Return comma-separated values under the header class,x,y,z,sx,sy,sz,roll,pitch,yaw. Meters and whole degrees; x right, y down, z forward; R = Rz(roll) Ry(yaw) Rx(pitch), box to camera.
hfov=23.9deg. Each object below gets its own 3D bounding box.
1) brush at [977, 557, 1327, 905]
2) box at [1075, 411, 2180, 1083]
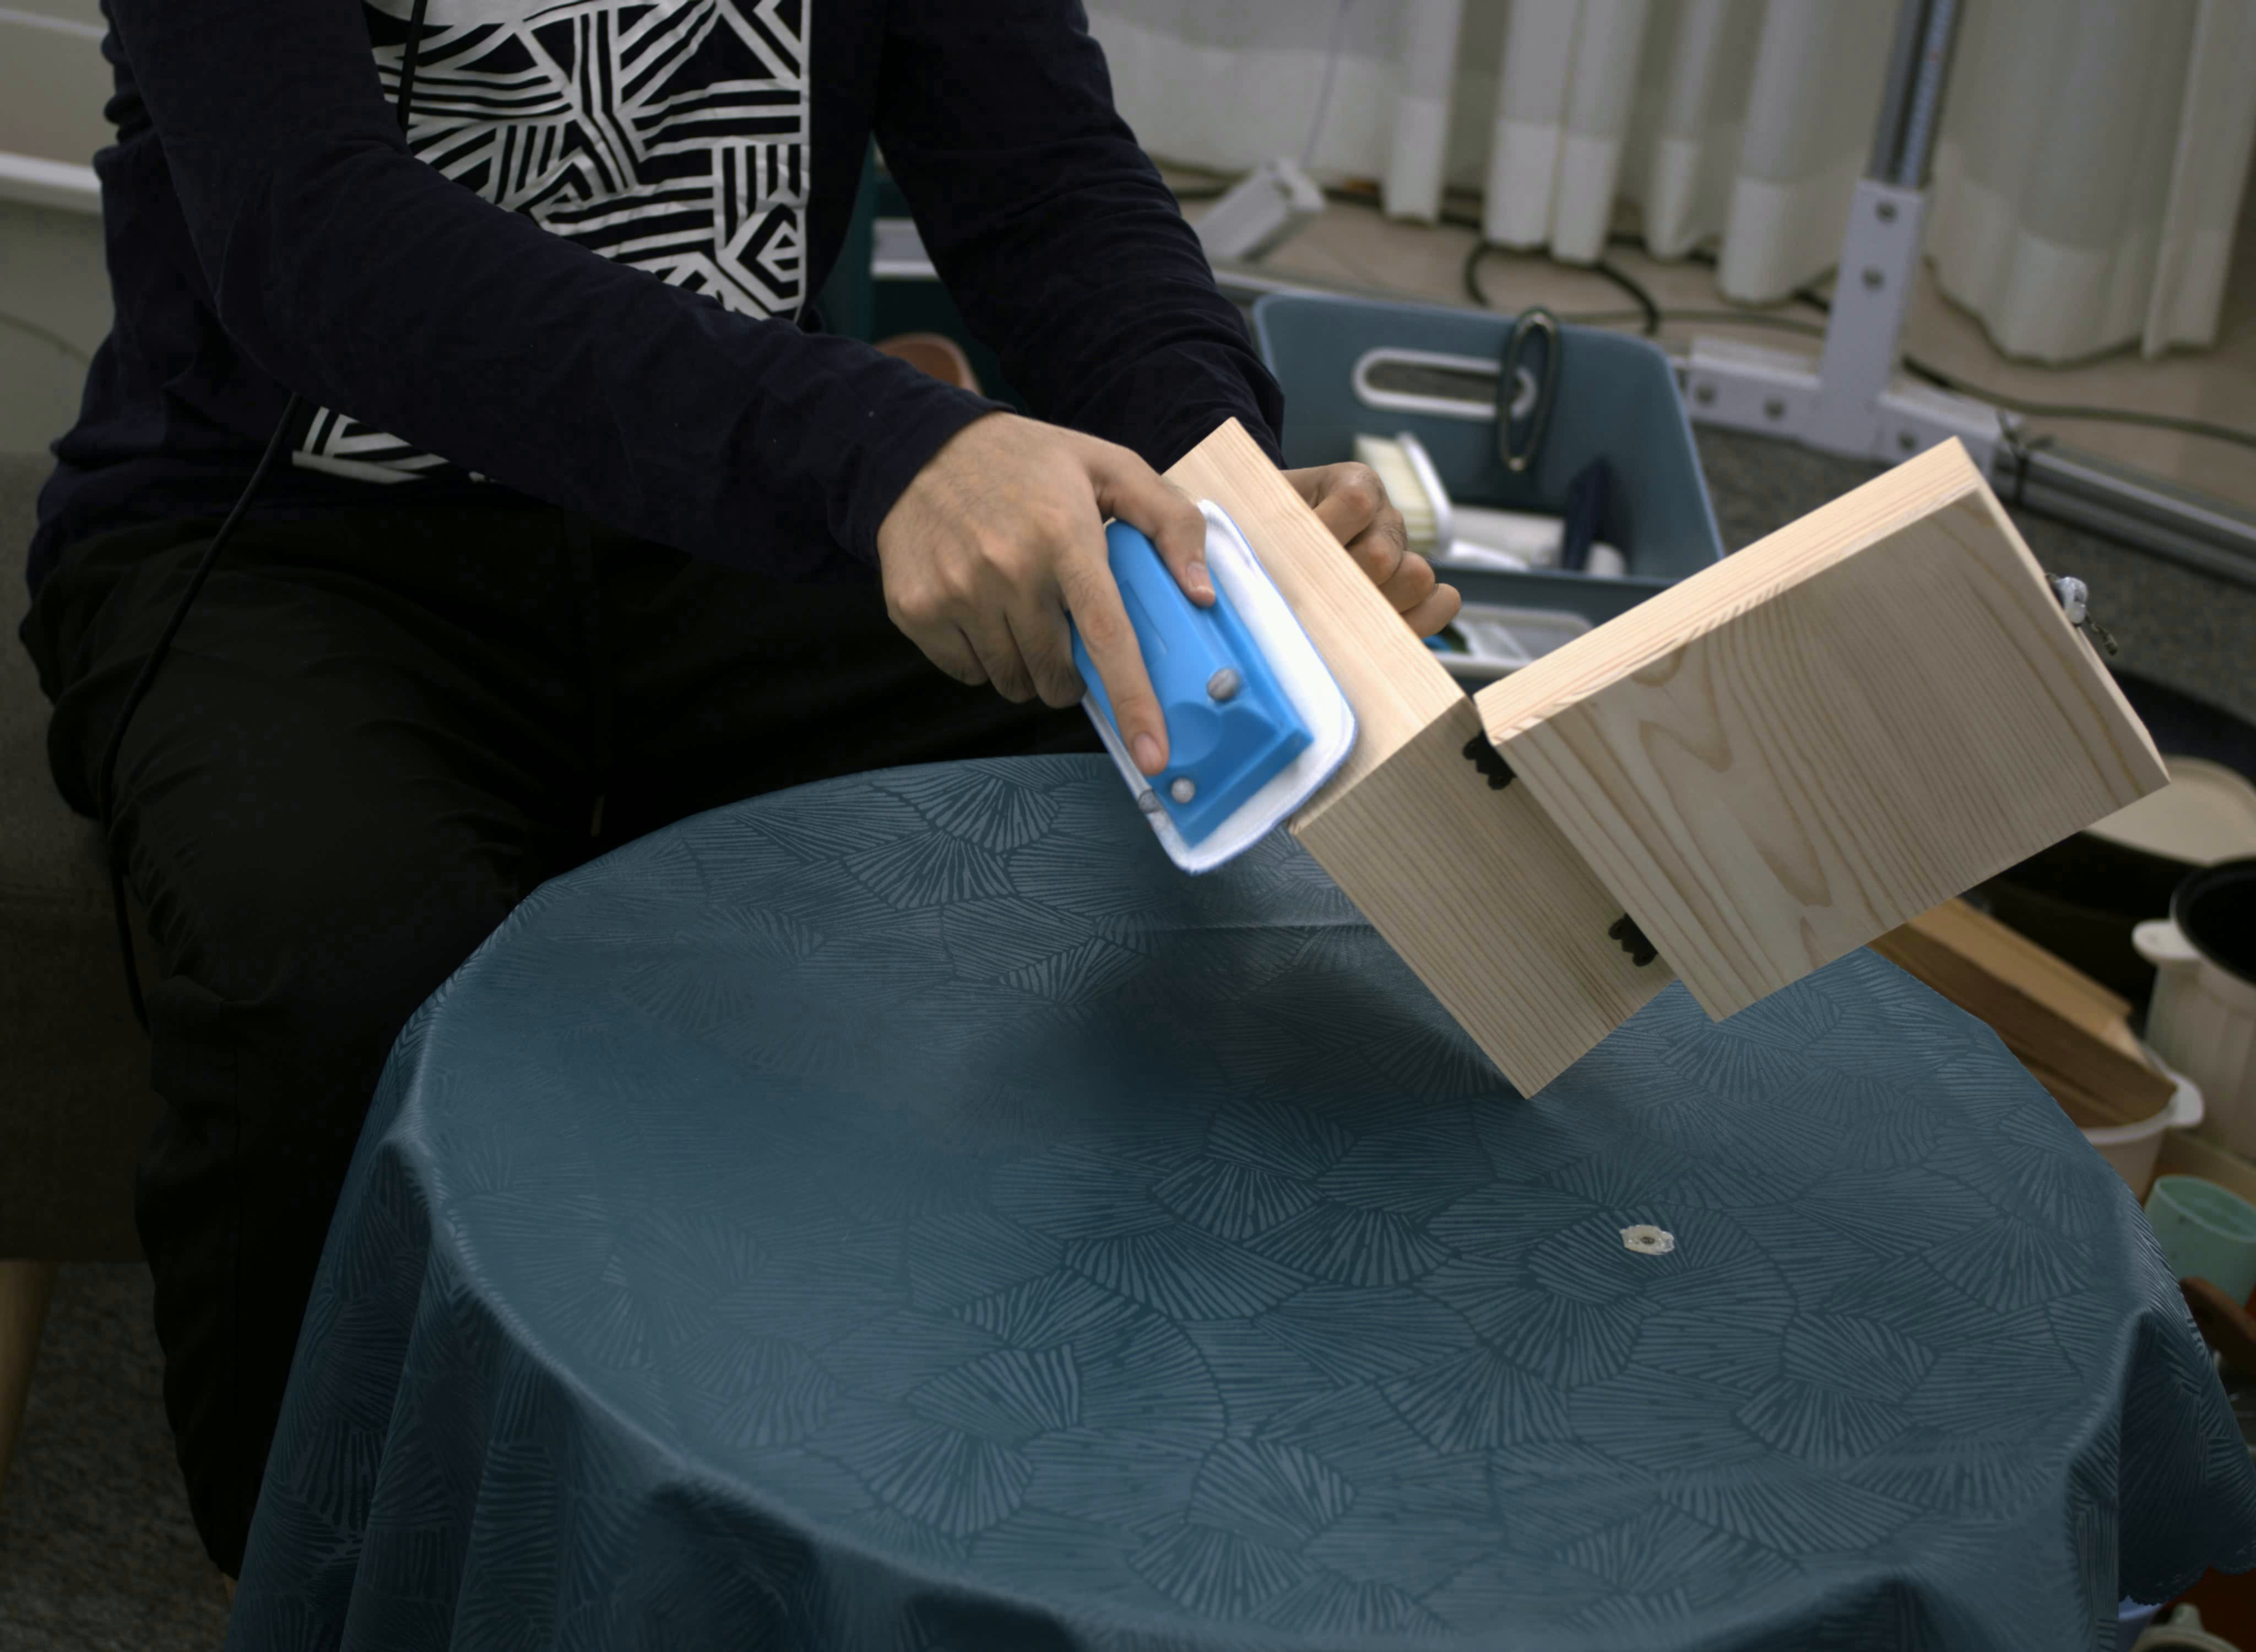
class,x,y,z,sx,sy,sz,roll,pitch,yaw
brush,0.002,-0.039,1.808,0.084,0.055,0.145,-40,46,-1
box,0.171,-0.066,1.861,0.253,0.180,0.268,-41,45,4
